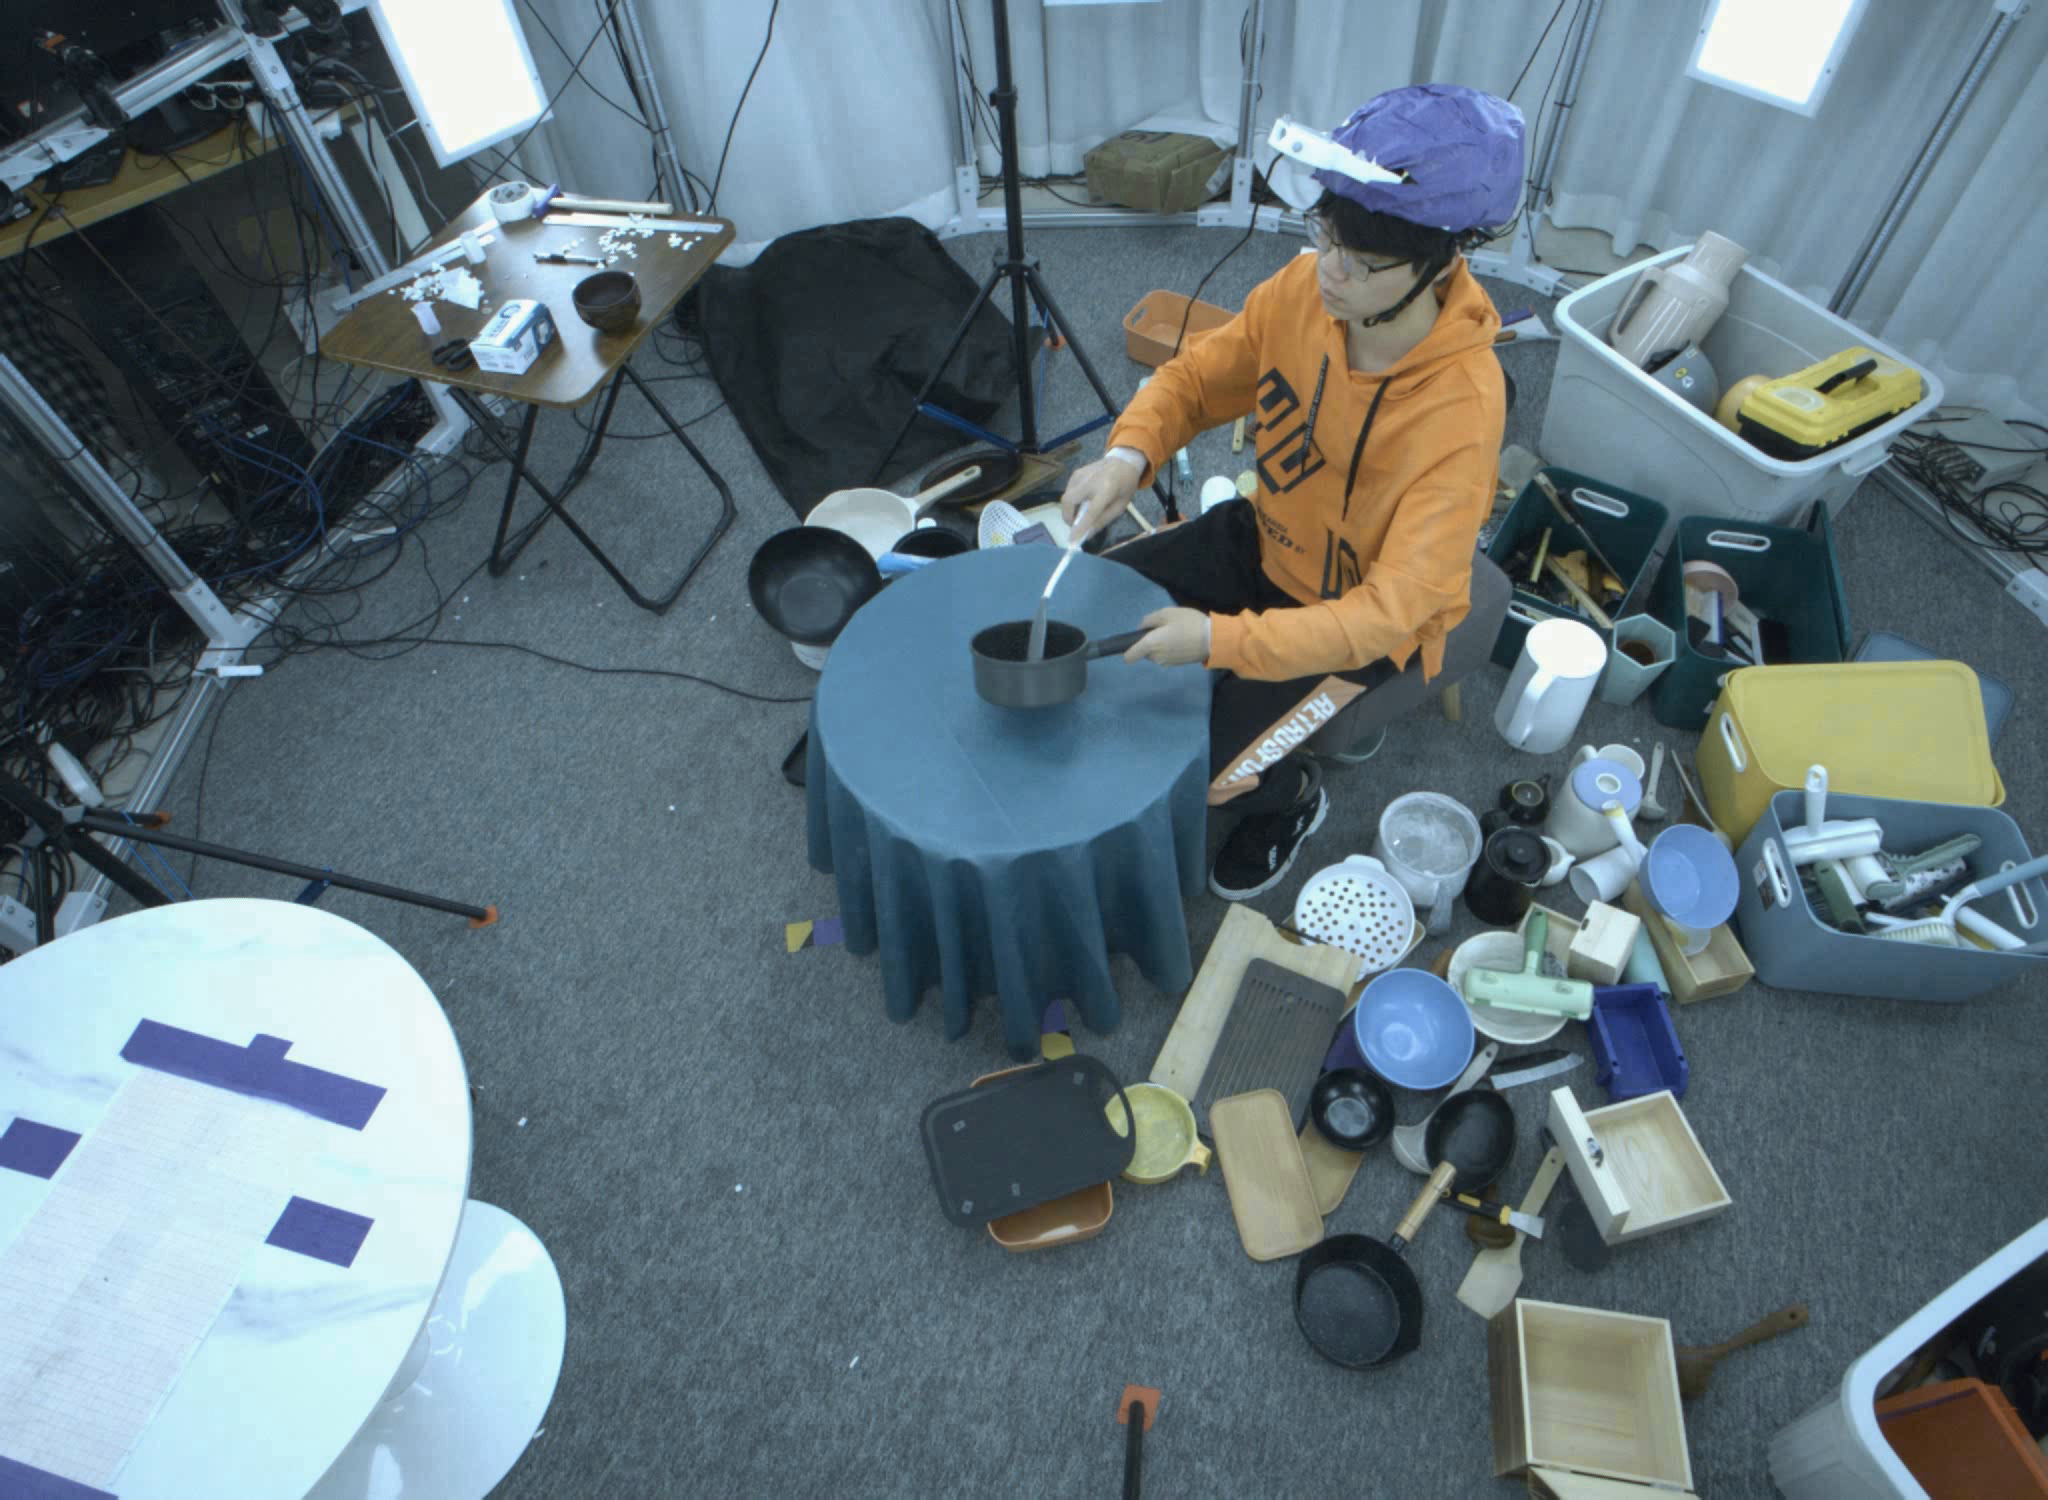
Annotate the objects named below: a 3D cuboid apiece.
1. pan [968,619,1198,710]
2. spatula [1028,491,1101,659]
[{"bbox_3d":[0.086,-0.131,1.764,0.329,0.087,0.170,-5,29,-1],"label":"pan"},{"bbox_3d":[0.051,-0.245,1.761,0.033,0.058,0.287,26,71,-19],"label":"spatula"}]
